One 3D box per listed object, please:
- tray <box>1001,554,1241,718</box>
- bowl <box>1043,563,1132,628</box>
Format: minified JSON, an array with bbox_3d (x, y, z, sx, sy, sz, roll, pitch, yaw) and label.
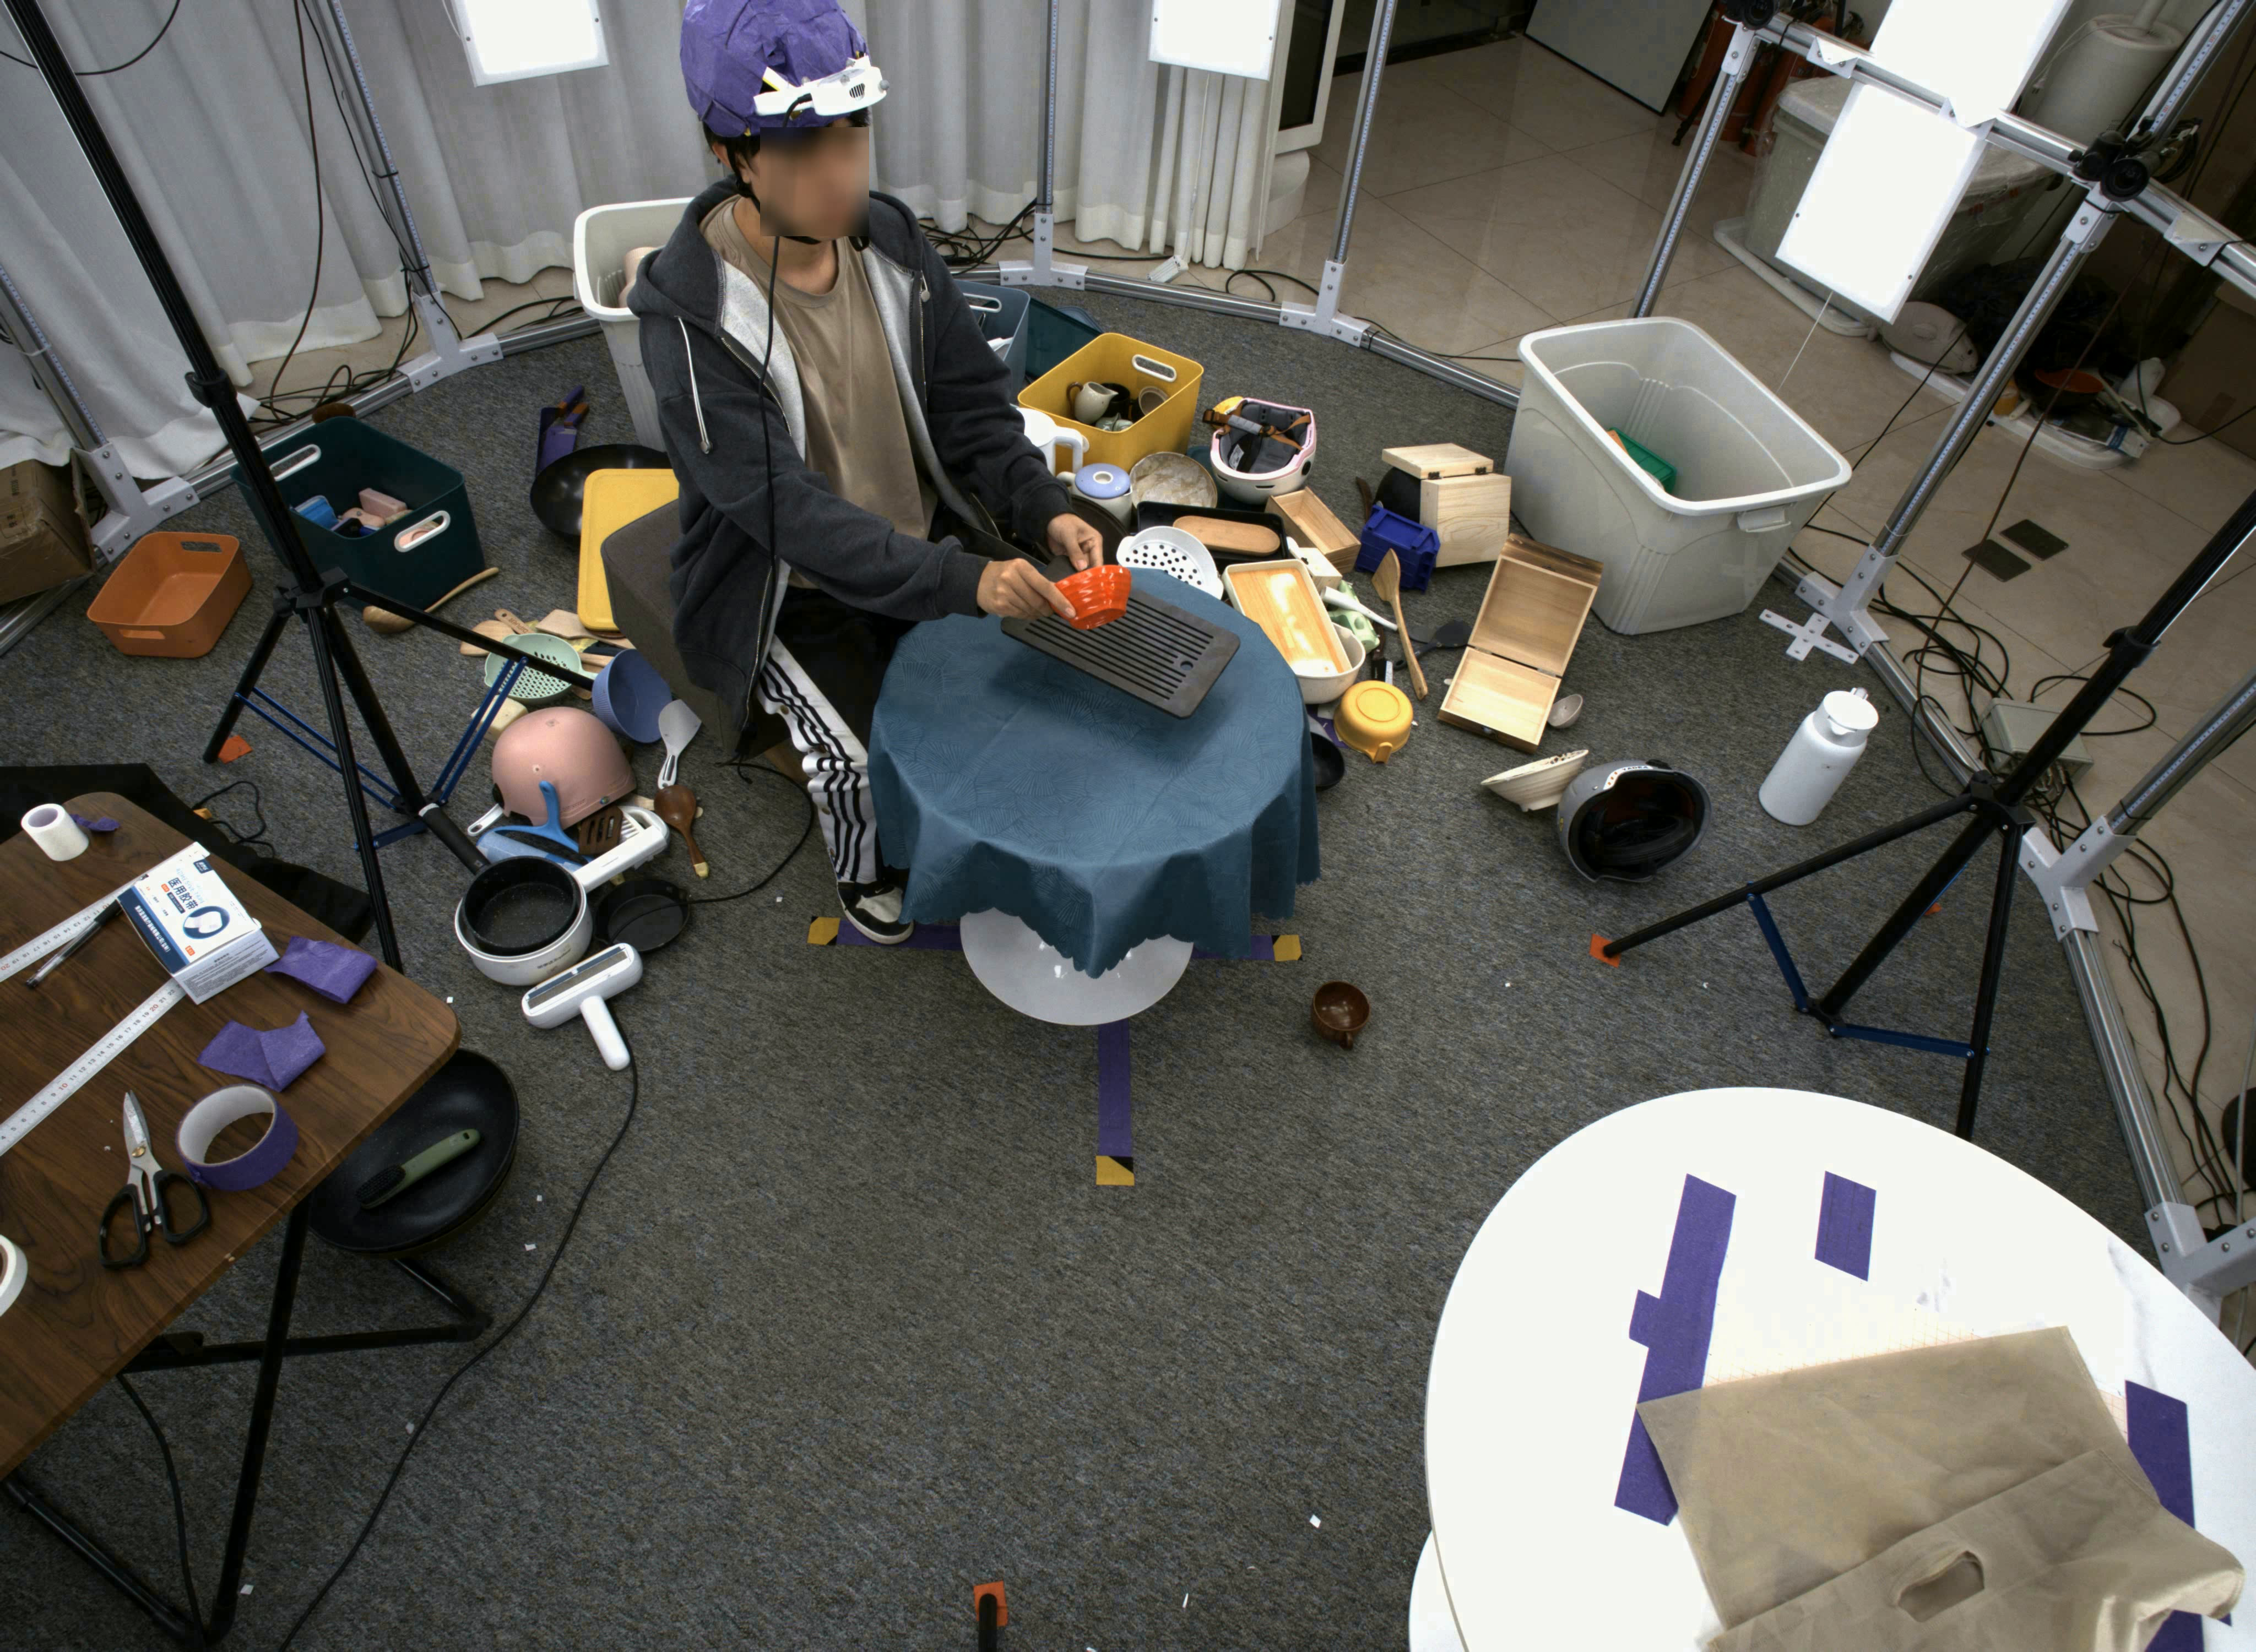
[{"bbox_3d":[-0.010,-0.269,1.808,0.308,0.018,0.173,27,59,15],"label":"tray"},{"bbox_3d":[-0.046,-0.288,1.636,0.119,0.118,0.051,-15,85,-17],"label":"bowl"}]
